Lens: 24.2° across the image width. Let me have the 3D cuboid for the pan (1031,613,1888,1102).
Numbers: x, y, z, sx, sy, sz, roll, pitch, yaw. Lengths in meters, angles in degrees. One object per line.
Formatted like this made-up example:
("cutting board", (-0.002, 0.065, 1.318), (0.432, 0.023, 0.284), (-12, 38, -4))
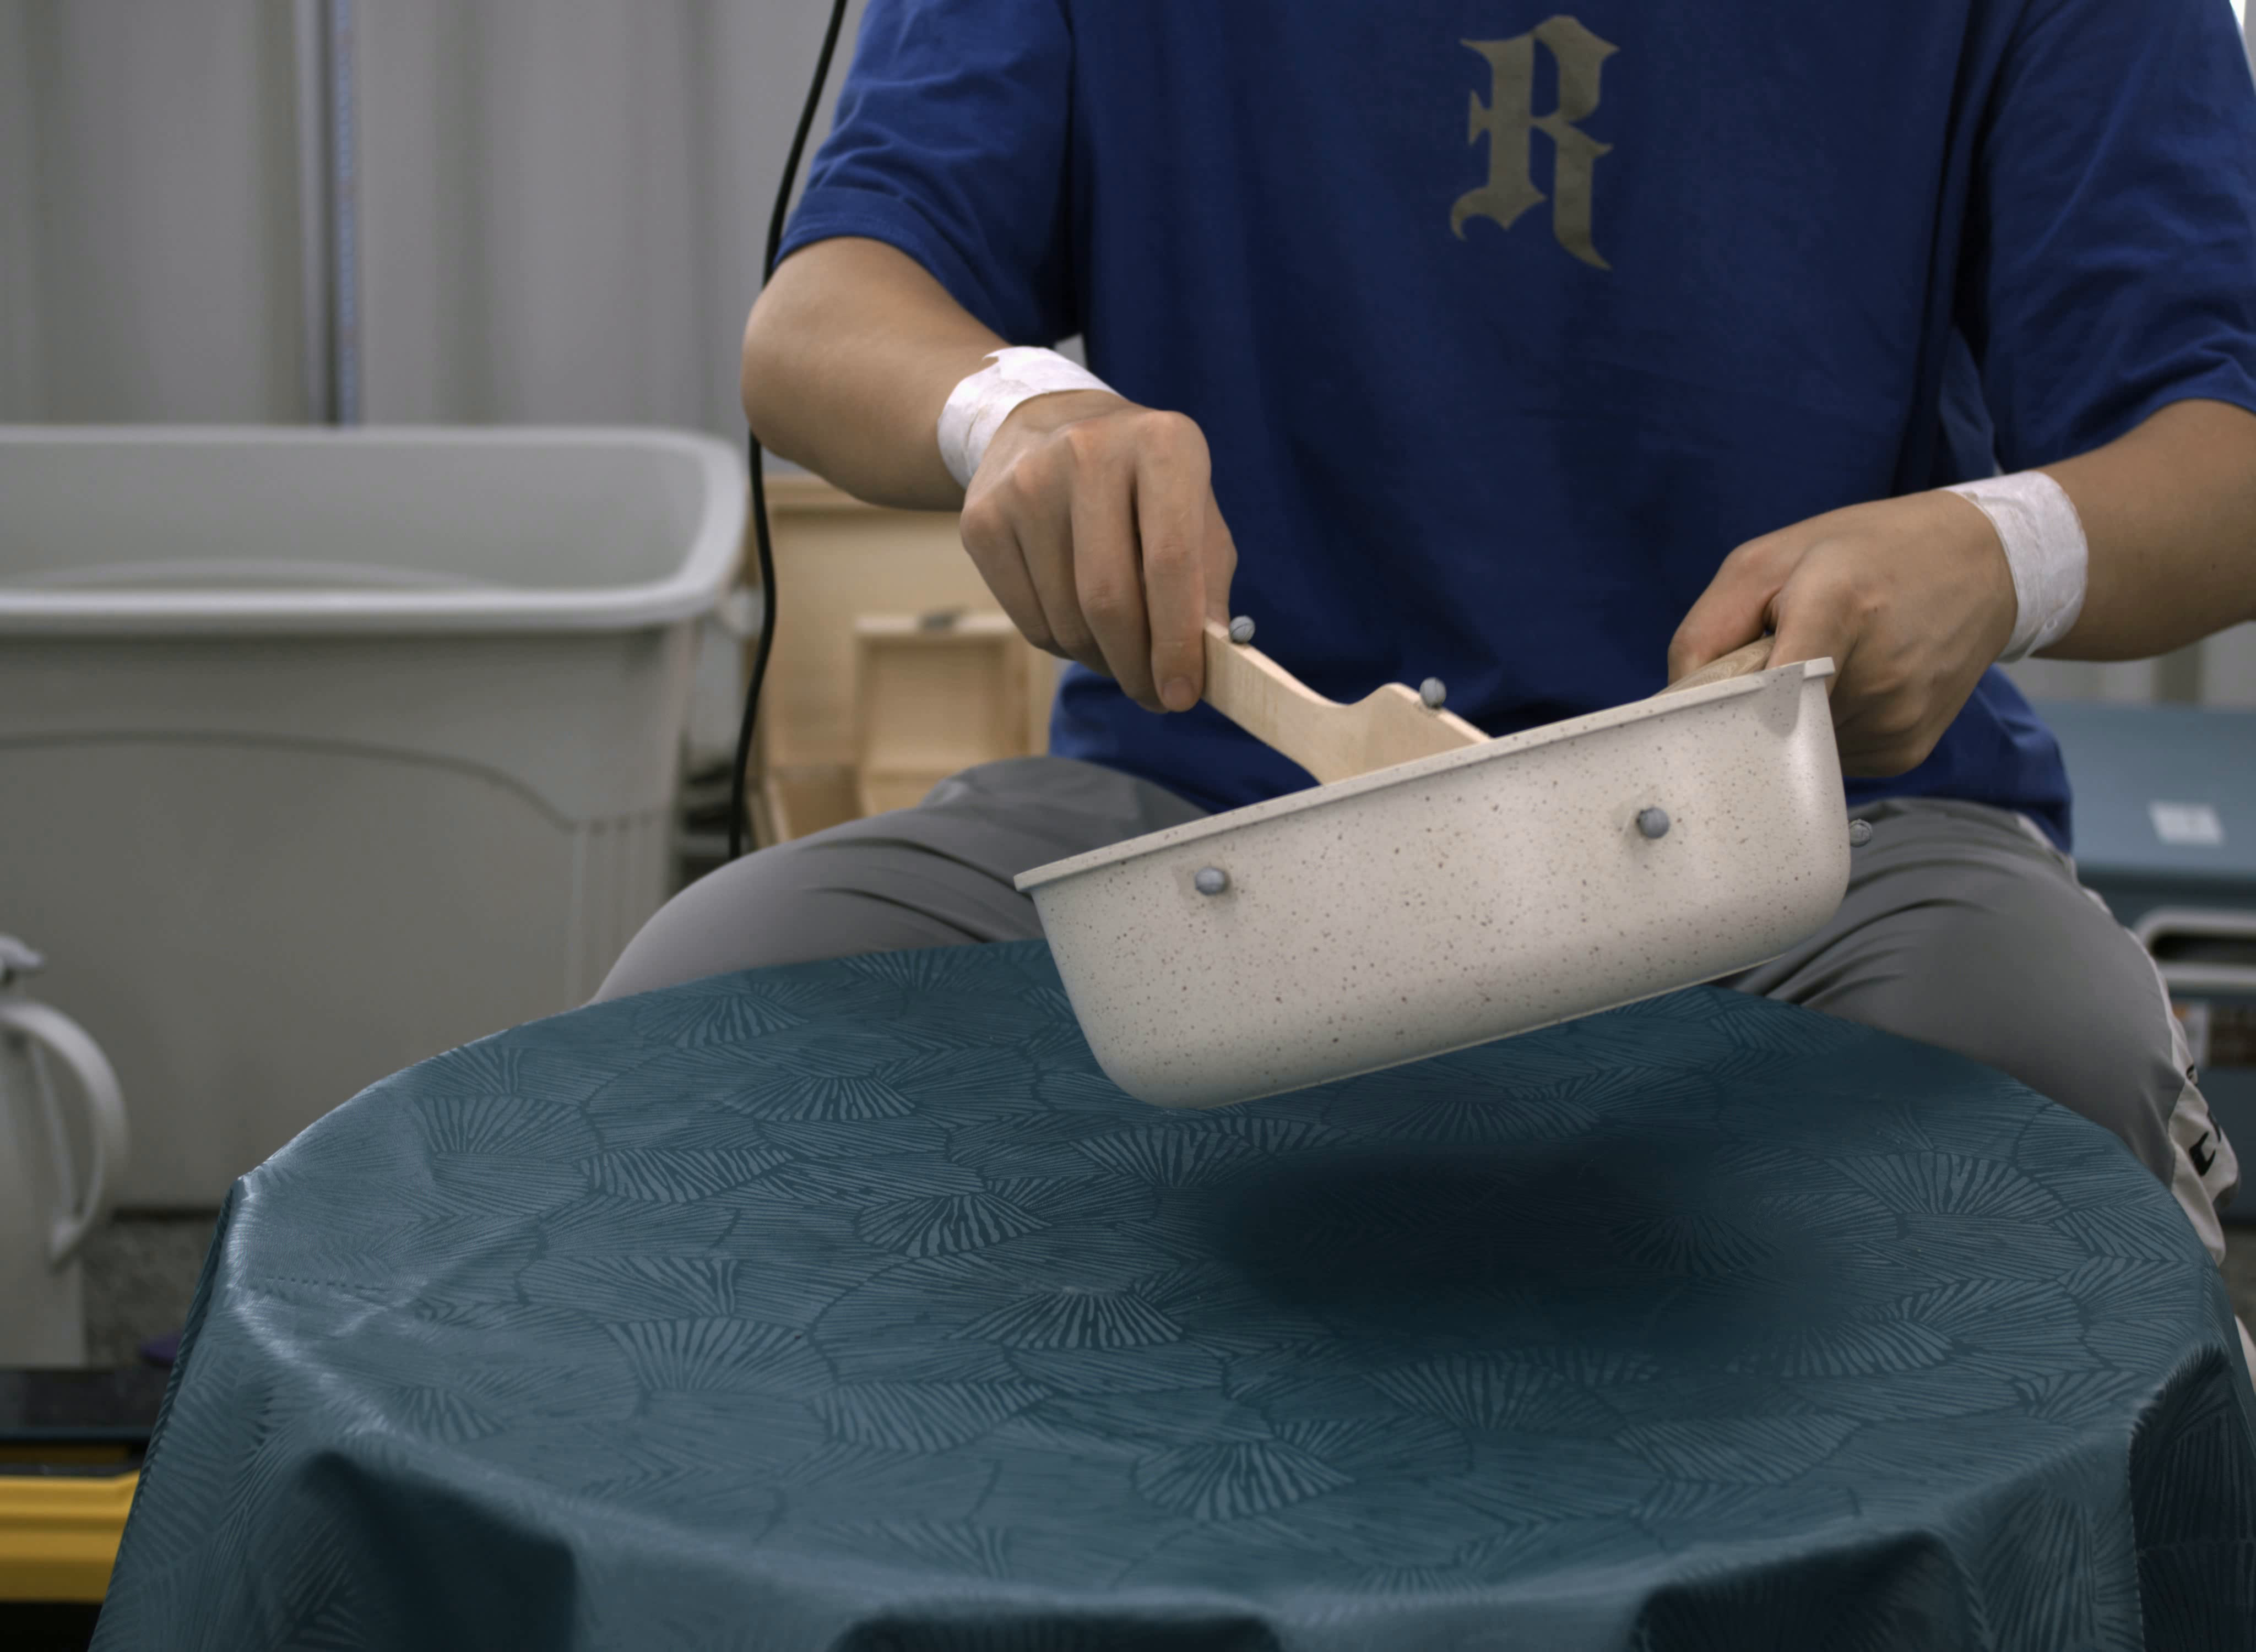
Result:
("pan", (0.149, 0.000, 1.633), (0.261, 0.102, 0.437), (-18, -3, 33))

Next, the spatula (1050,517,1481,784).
("spatula", (0.047, -0.040, 1.667), (0.011, 0.073, 0.289), (-15, 30, -27))
